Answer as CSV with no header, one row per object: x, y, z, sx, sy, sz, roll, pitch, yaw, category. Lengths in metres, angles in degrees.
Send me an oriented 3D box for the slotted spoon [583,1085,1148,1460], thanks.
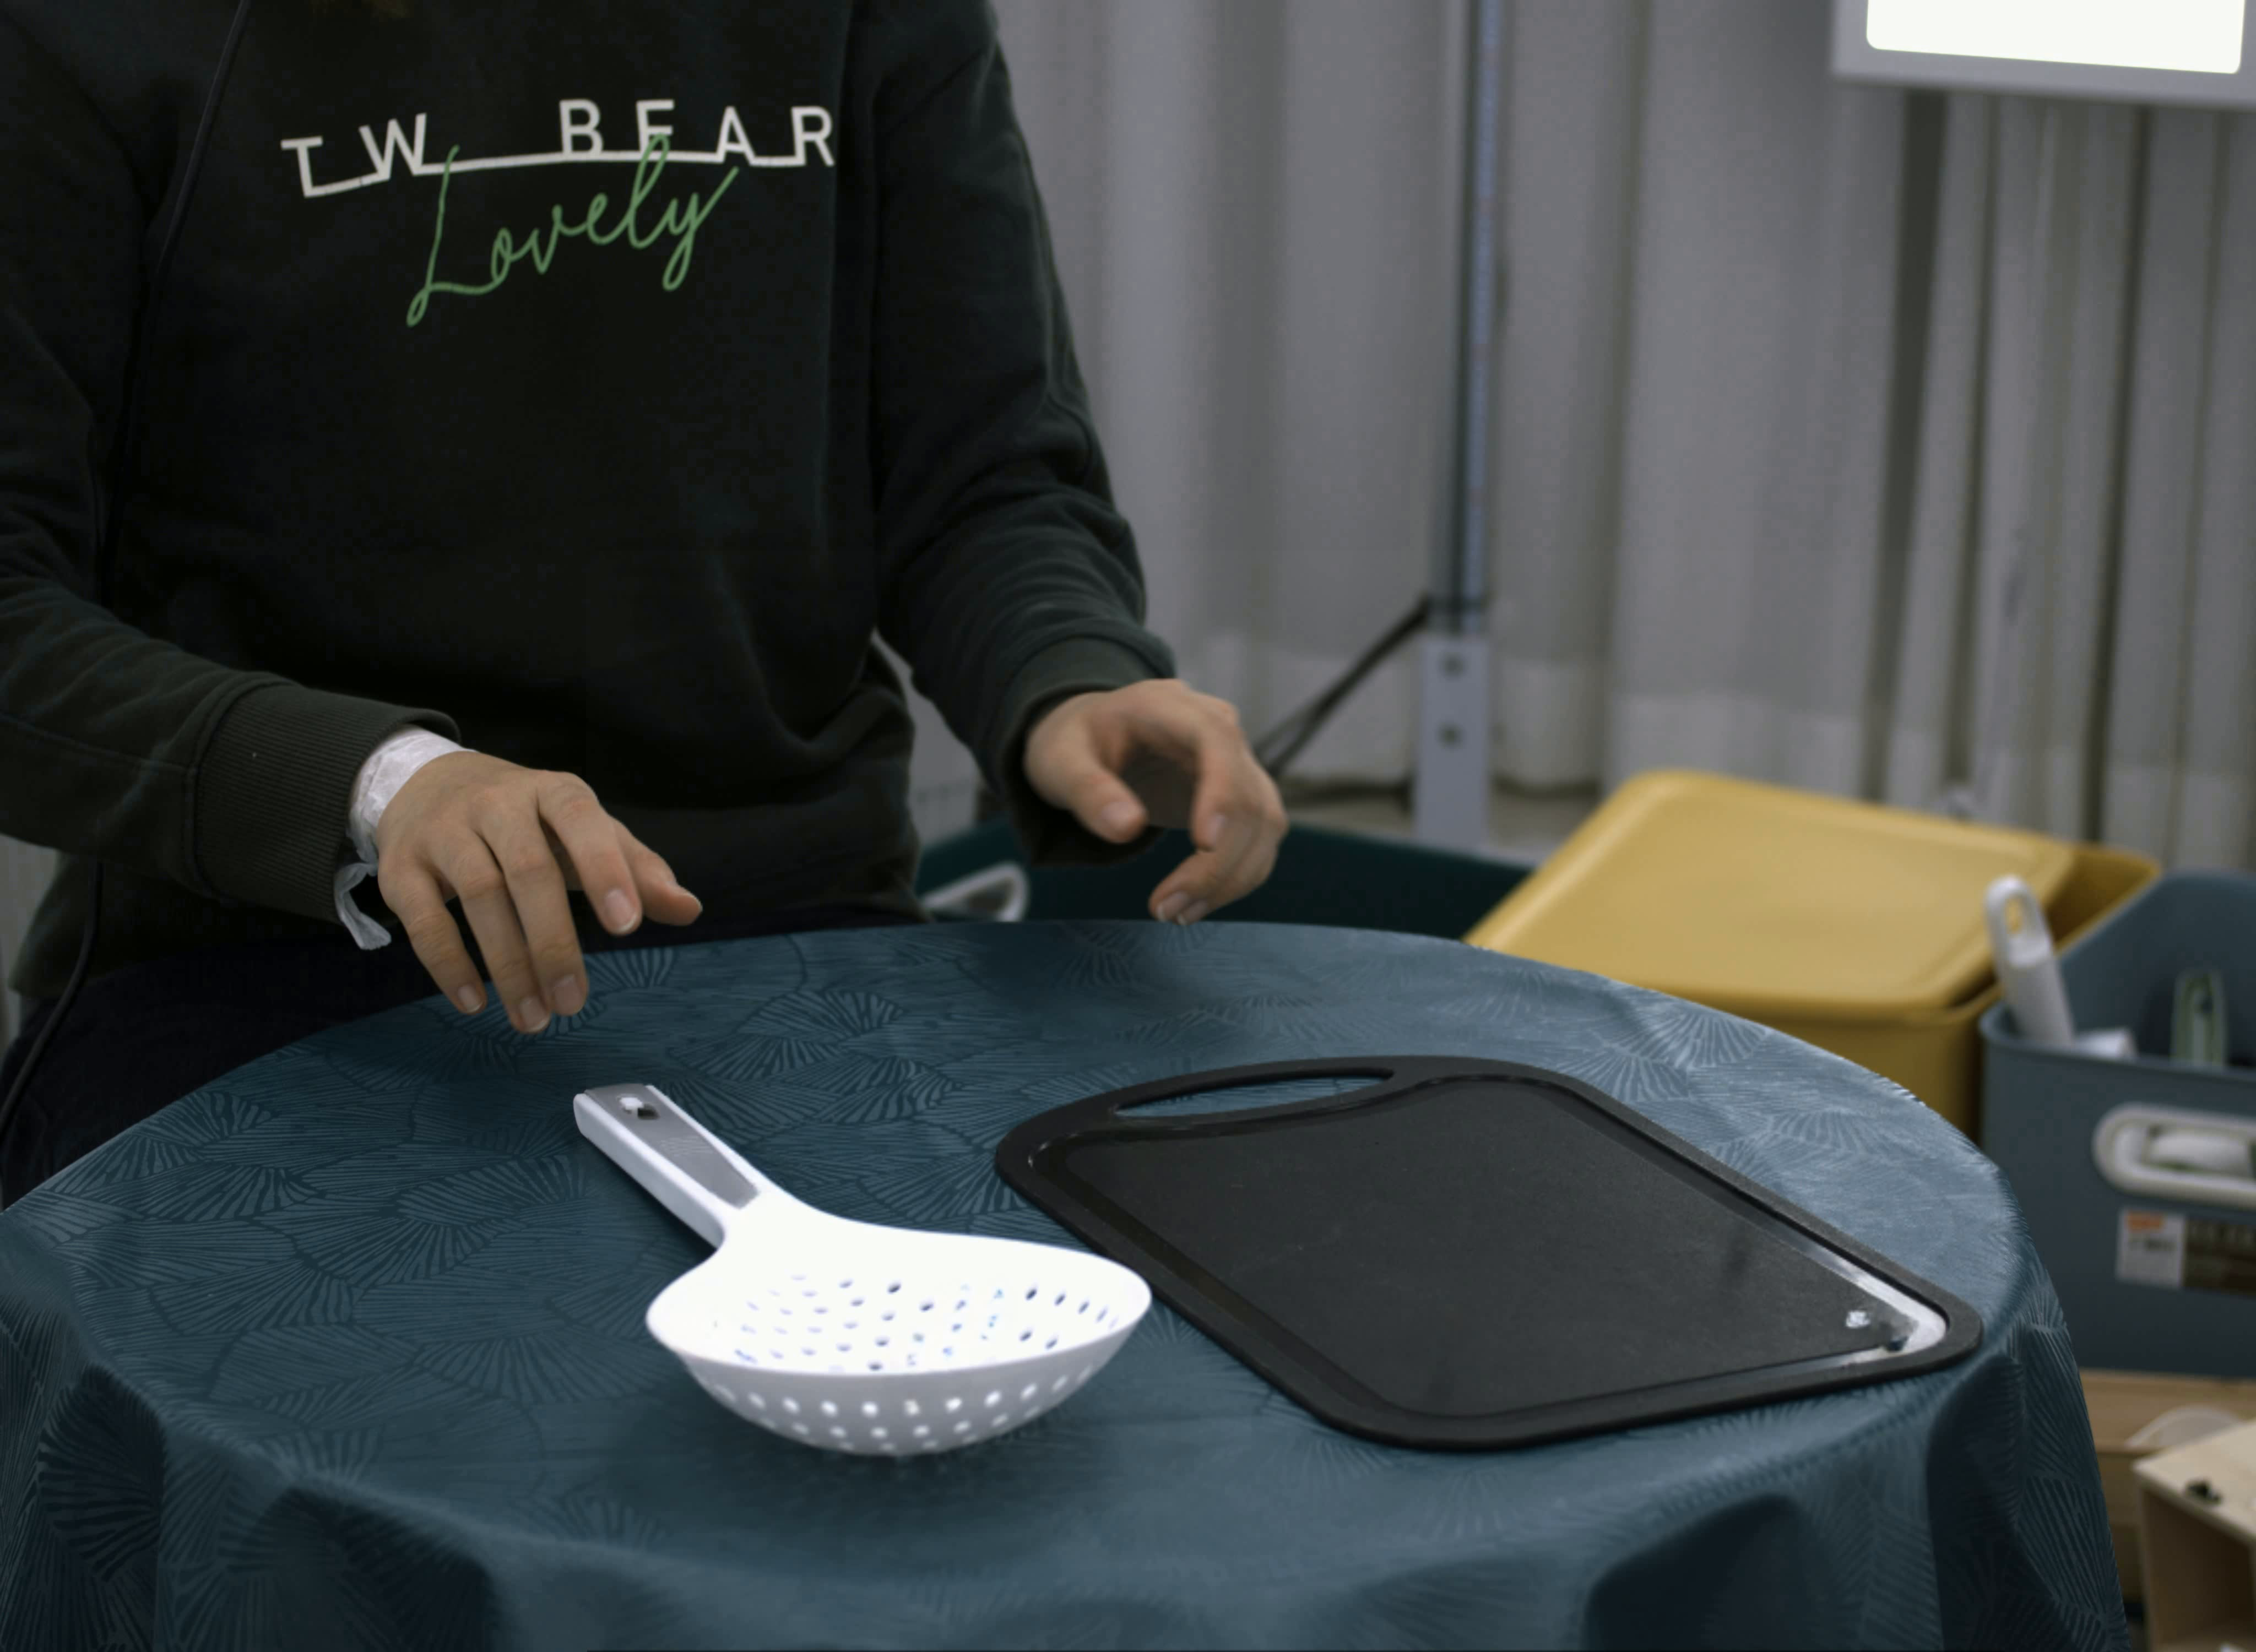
-0.101,0.119,1.517,0.136,0.046,0.346,-4,16,-21,slotted spoon

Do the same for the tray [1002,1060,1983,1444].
0.098,0.120,1.590,0.212,0.010,0.321,-6,17,-24,tray
